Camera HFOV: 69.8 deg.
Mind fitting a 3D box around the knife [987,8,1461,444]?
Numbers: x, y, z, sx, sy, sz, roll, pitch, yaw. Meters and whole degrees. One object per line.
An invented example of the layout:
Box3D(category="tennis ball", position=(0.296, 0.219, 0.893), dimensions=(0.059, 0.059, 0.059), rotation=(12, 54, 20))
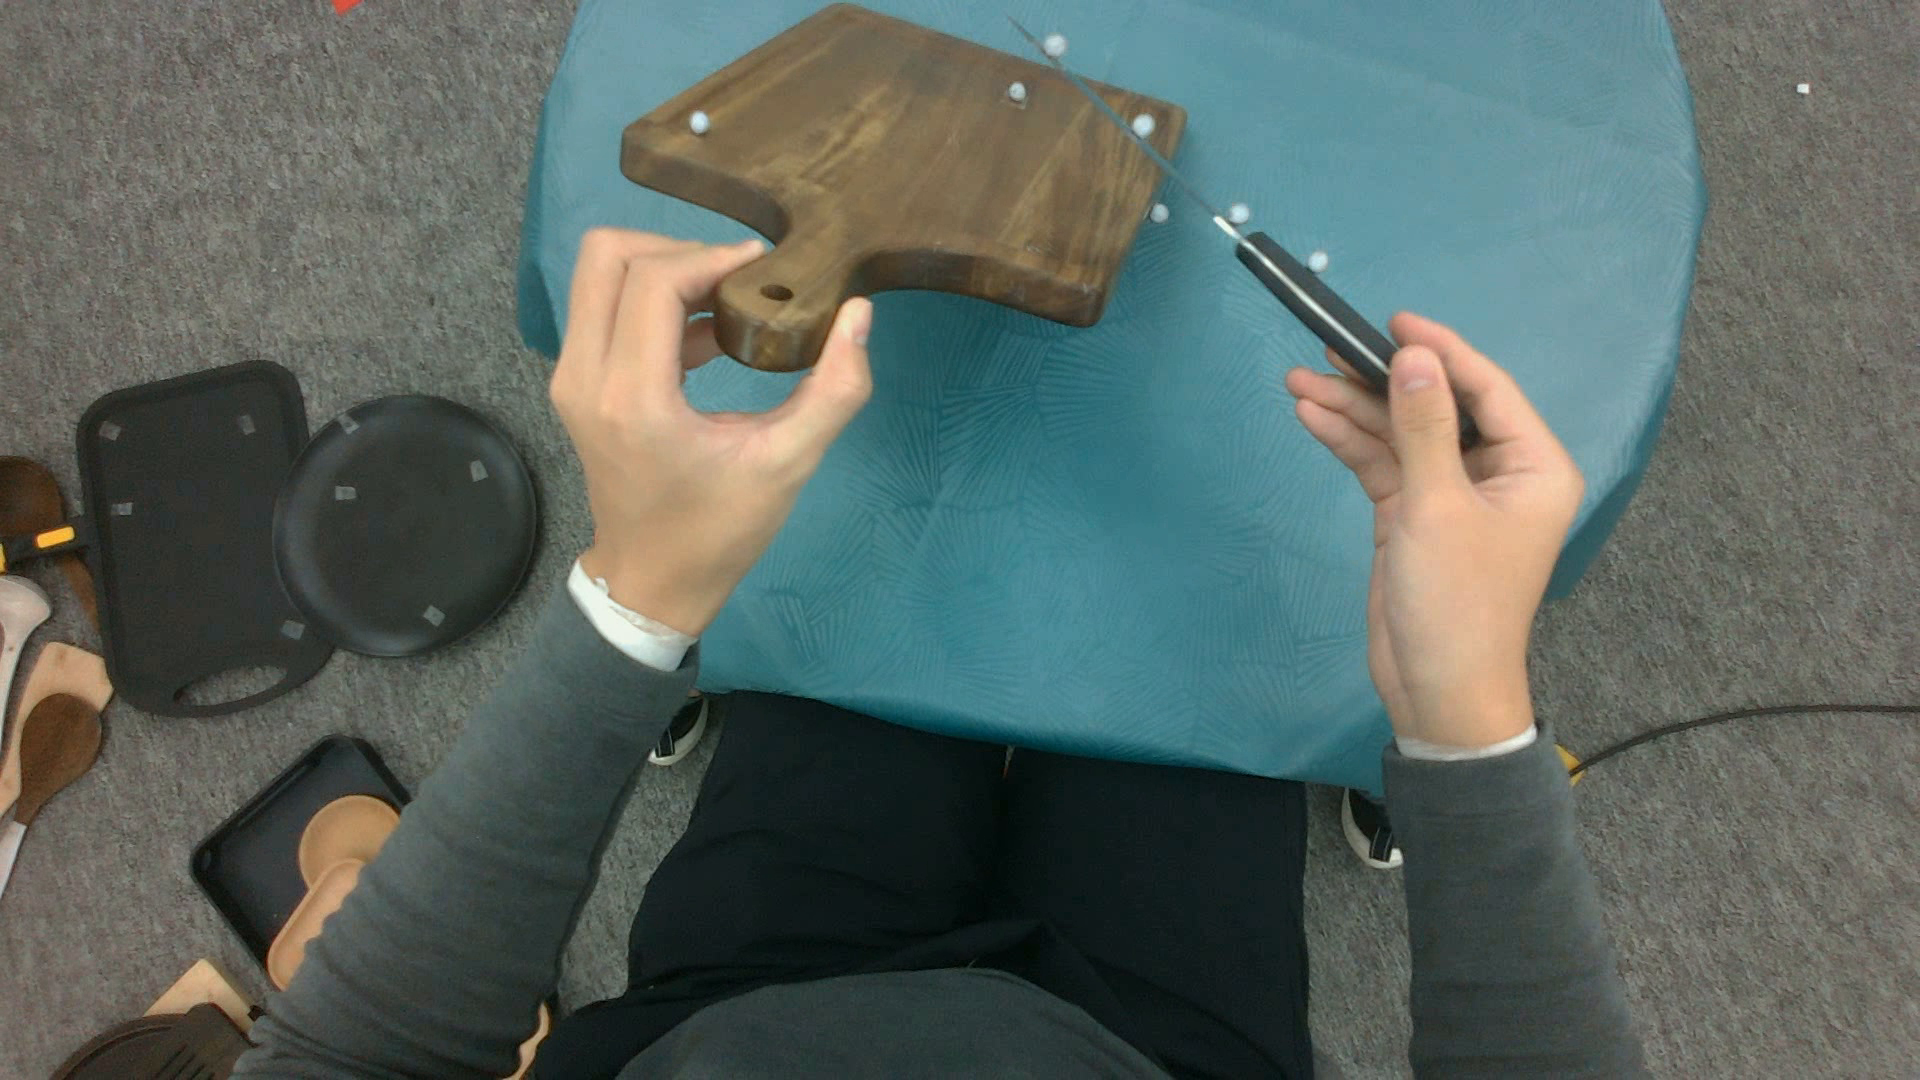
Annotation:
Box3D(category="knife", position=(0.098, -0.121, 0.522), dimensions=(0.238, 0.024, 0.016), rotation=(43, 108, 2))

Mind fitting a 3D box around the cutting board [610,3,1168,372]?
Box3D(category="cutting board", position=(-0.026, -0.156, 0.579), dimensions=(0.201, 0.354, 0.023), rotation=(18, 125, 5))
